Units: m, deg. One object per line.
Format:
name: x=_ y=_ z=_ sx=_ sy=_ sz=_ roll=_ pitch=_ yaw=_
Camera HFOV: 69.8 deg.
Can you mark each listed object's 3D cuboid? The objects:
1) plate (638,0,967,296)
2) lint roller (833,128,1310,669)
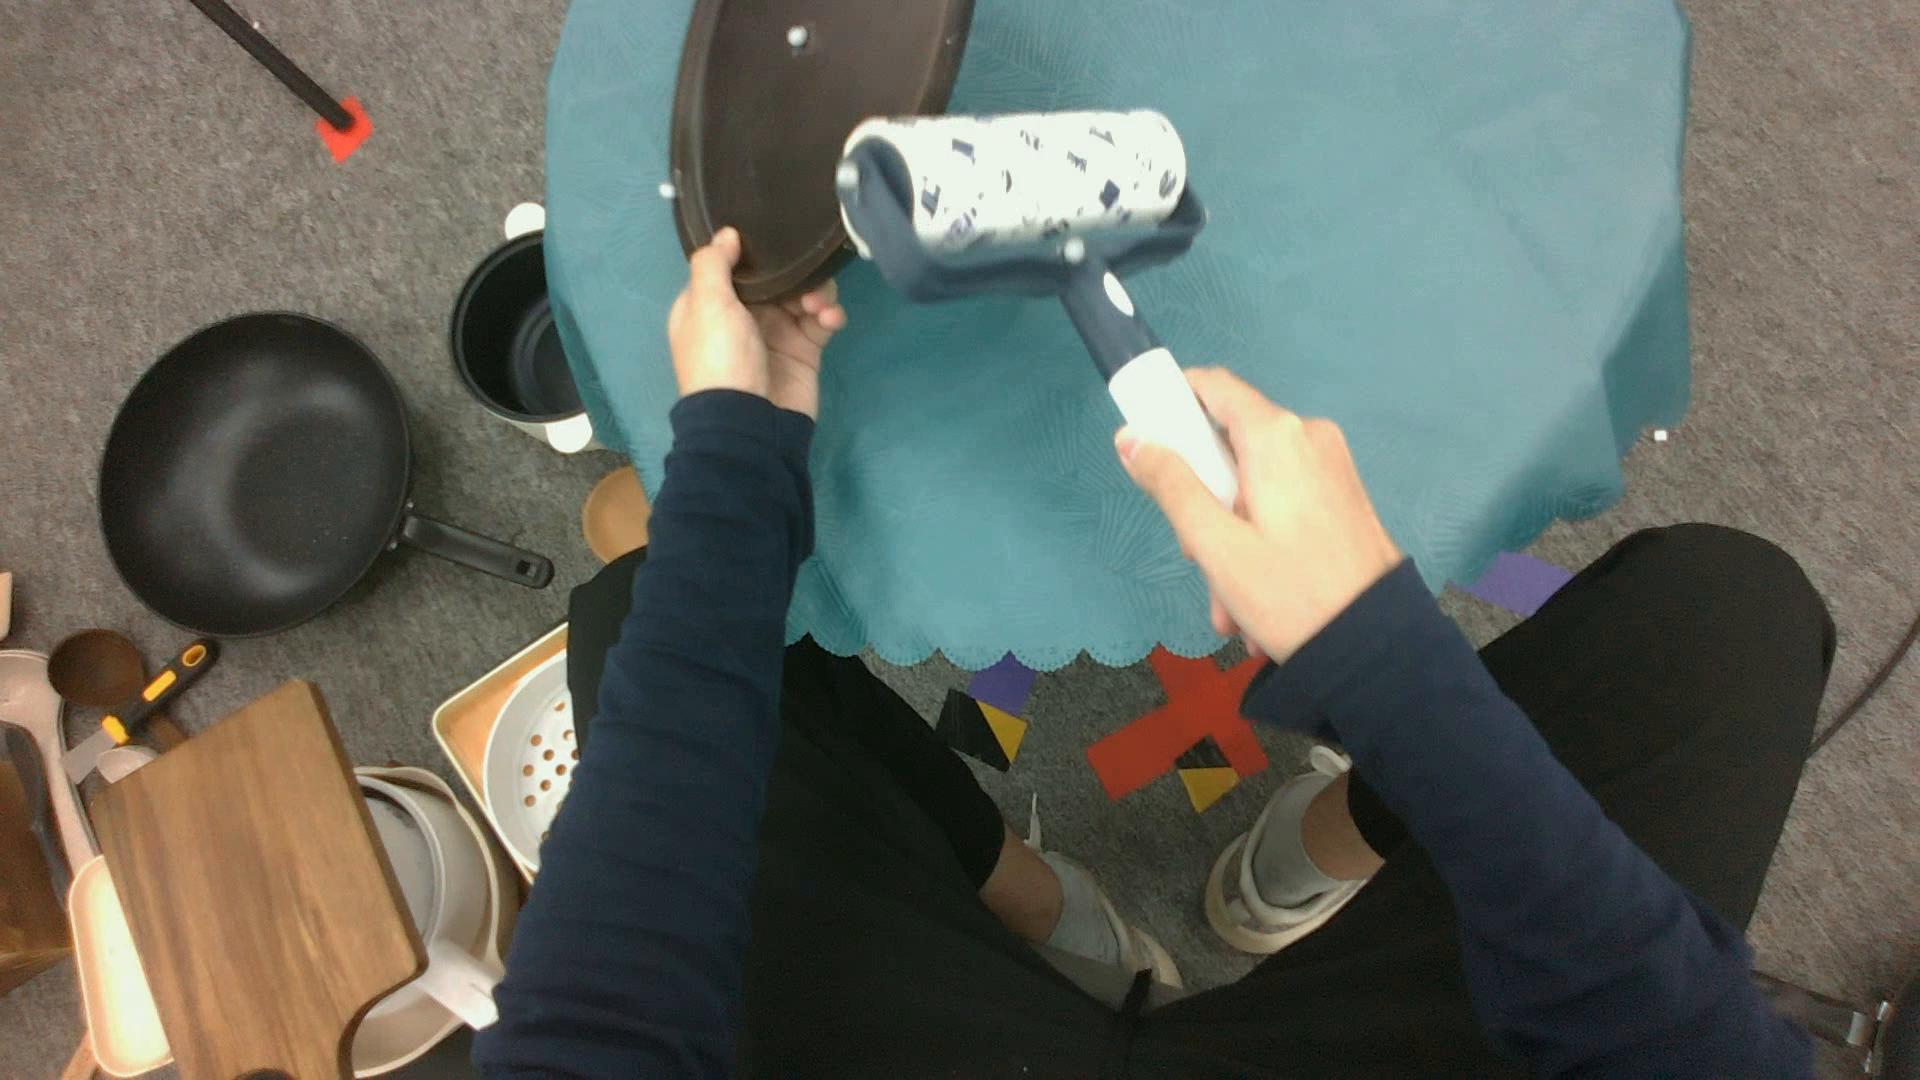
plate: x=-0.079 y=-0.238 z=0.641 sx=0.254 sy=0.029 sz=0.255 roll=-10 pitch=77 yaw=49
lint roller: x=0.073 y=-0.063 z=0.549 sx=0.177 sy=0.050 sz=0.247 roll=-18 pitch=72 yaw=-43
